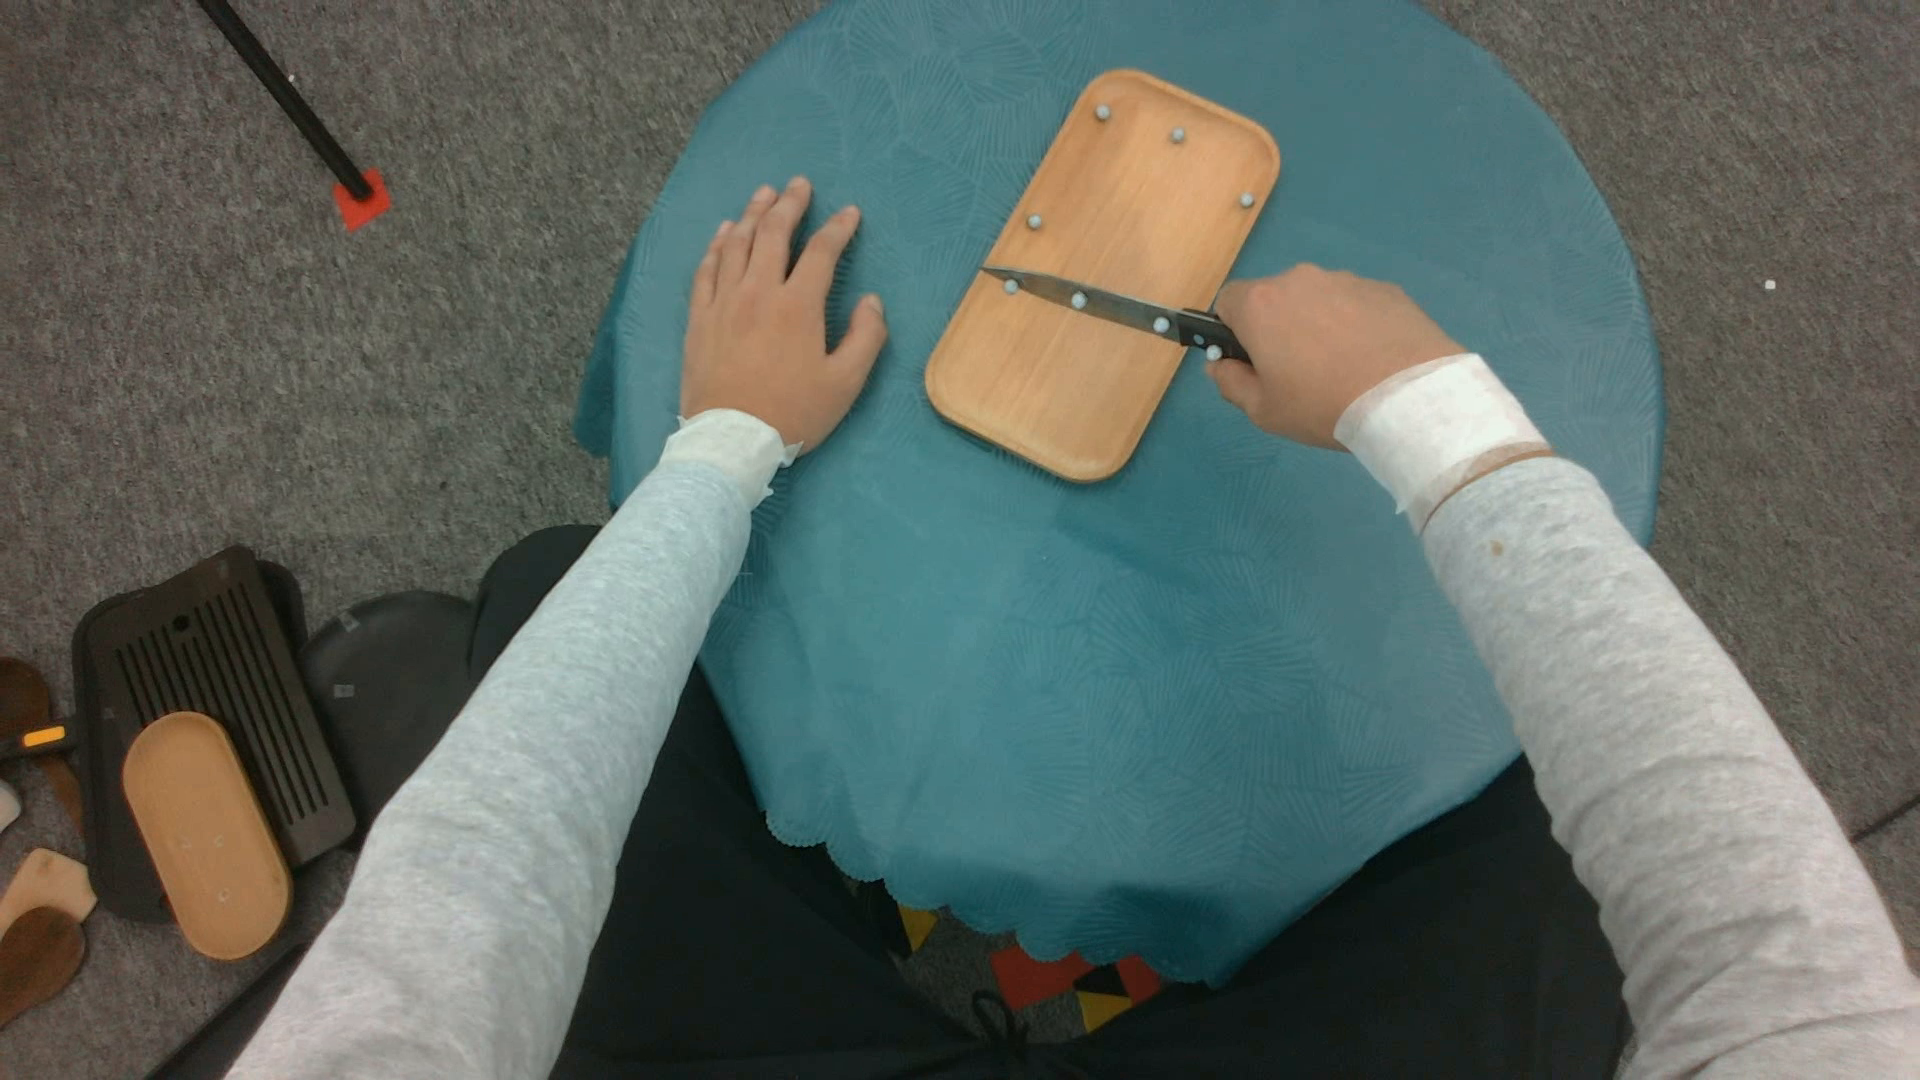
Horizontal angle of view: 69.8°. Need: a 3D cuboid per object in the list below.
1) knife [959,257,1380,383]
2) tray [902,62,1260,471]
[{"bbox_3d":[0.095,-0.118,0.691,0.238,0.024,0.016,21,62,30],"label":"knife"},{"bbox_3d":[0.073,-0.162,0.798,0.130,0.023,0.251,27,75,10],"label":"tray"}]
